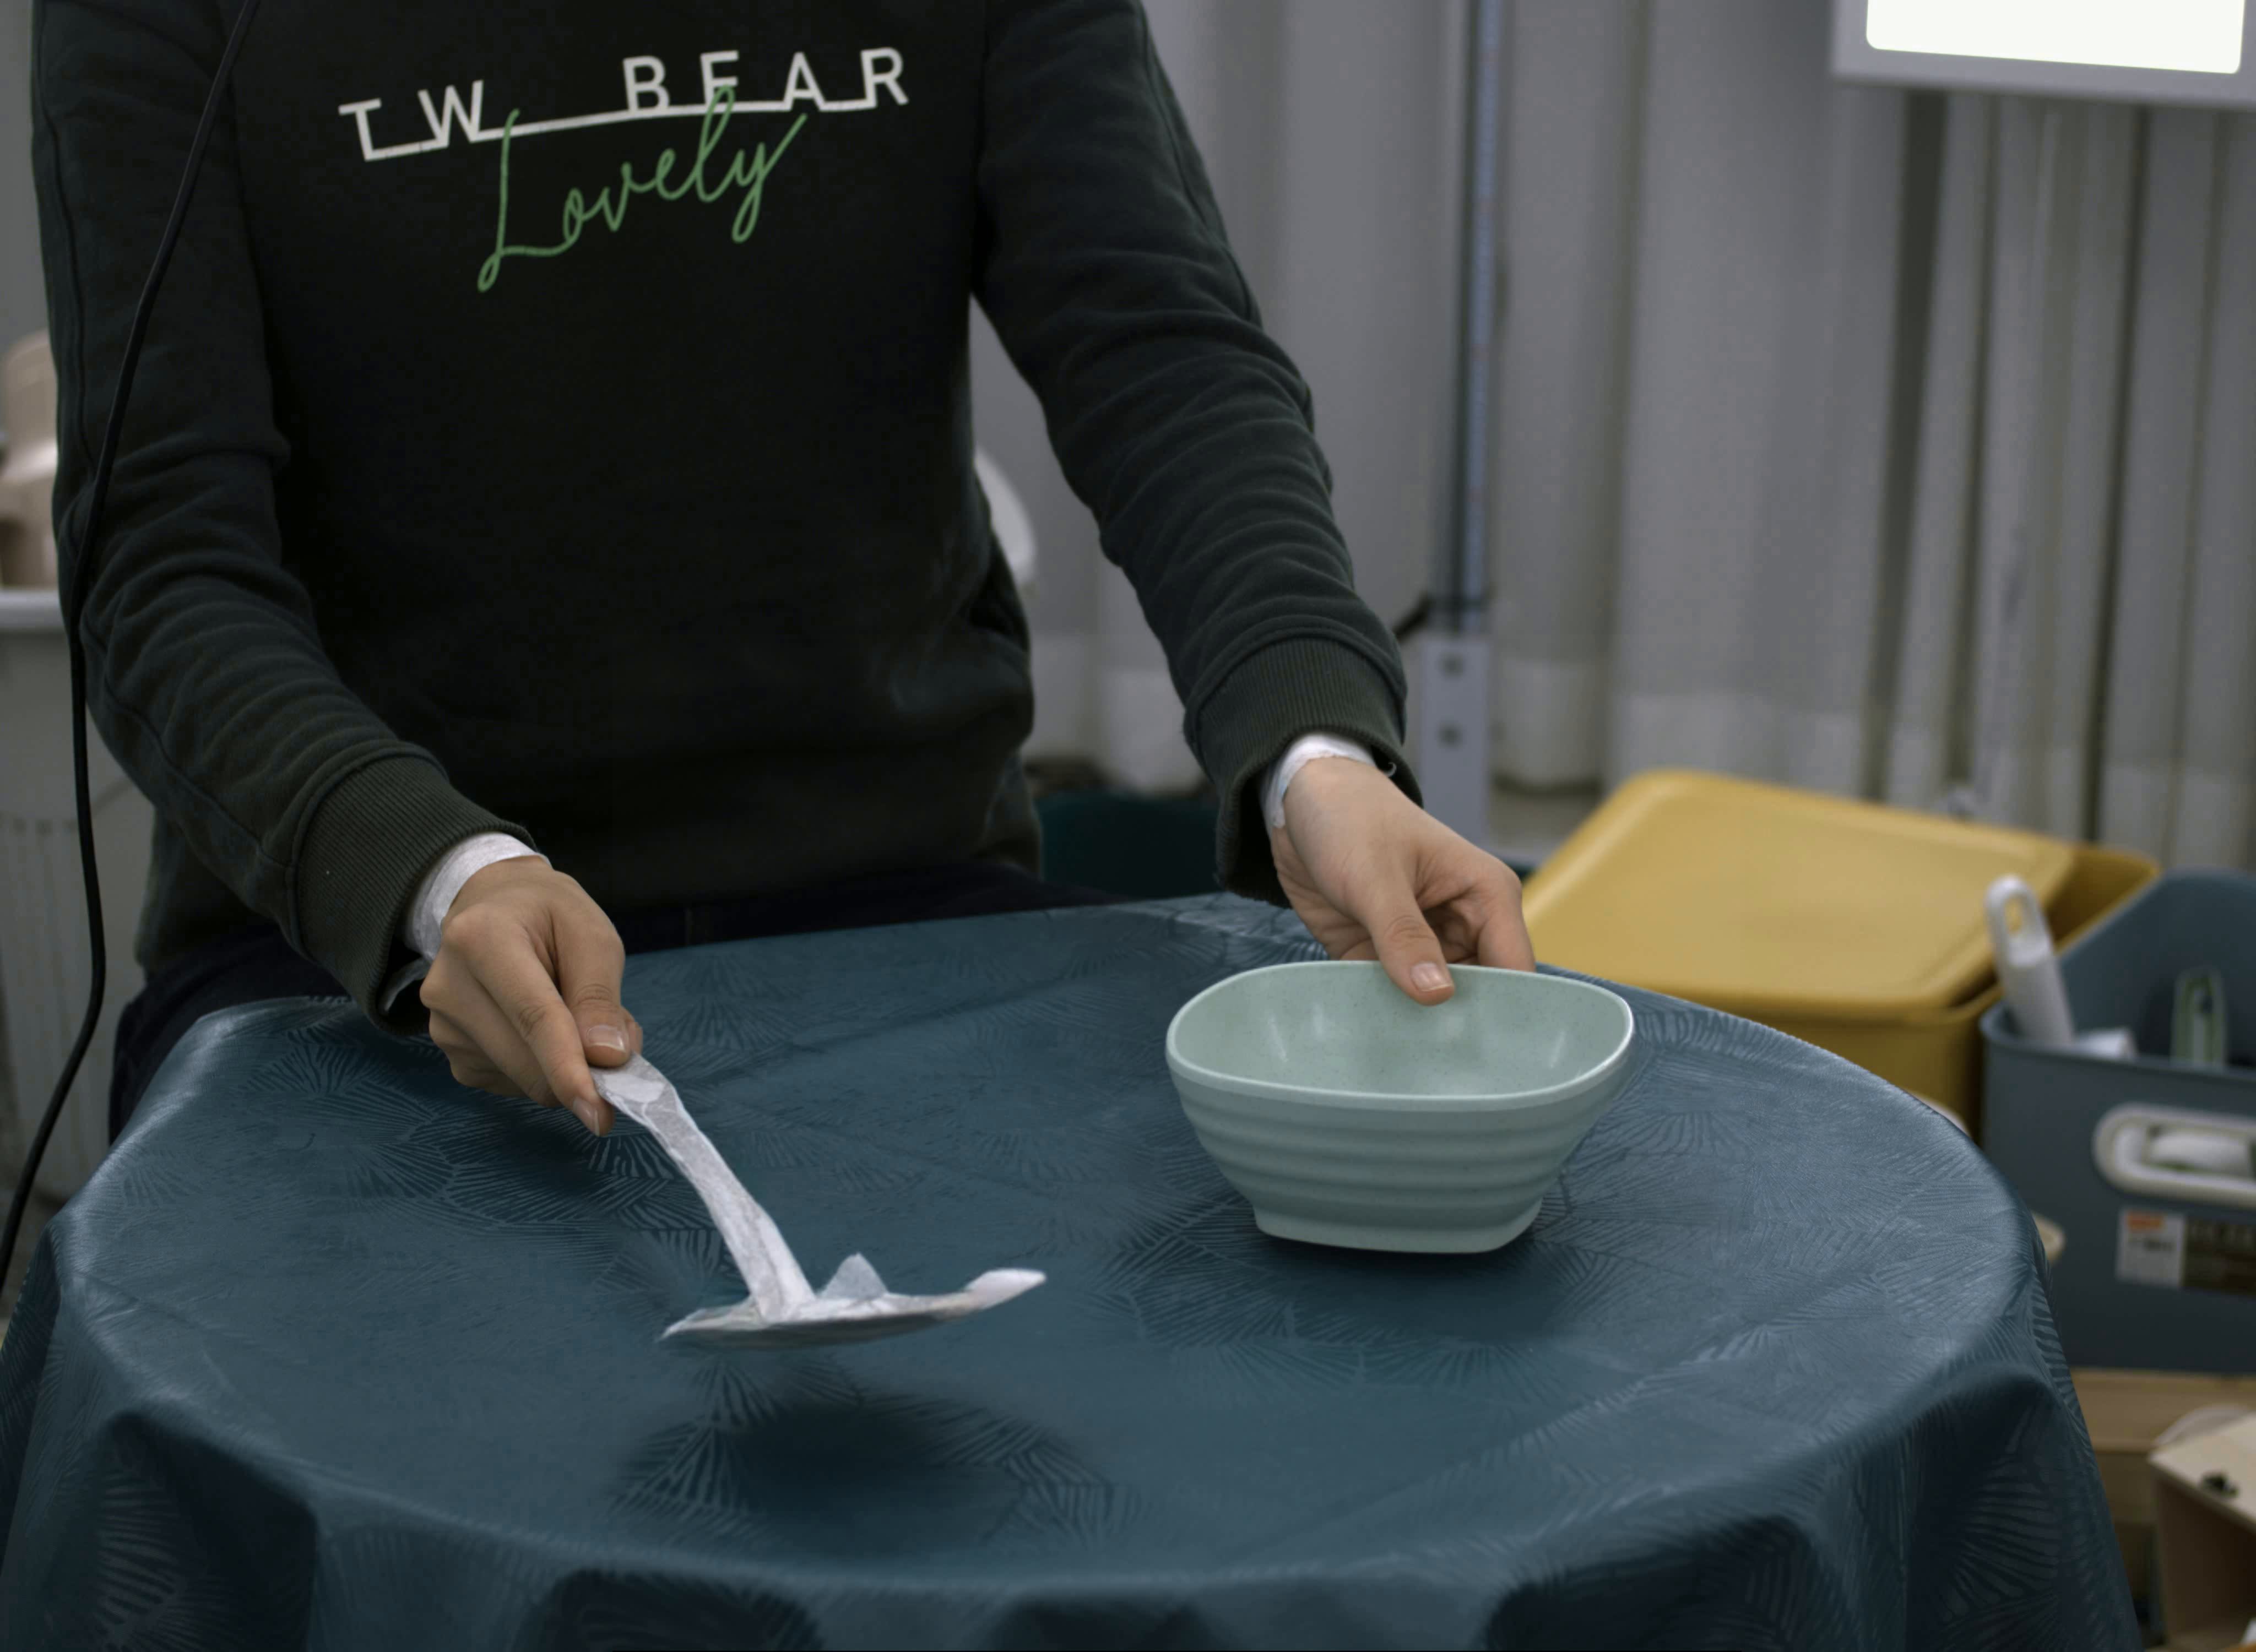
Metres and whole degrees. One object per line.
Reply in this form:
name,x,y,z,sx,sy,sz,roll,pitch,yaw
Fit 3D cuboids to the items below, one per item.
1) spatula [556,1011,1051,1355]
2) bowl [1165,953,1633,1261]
spatula,-0.120,0.094,1.531,0.099,0.045,0.361,-7,19,-19
bowl,0.081,0.088,1.591,0.151,0.059,0.150,3,17,0
